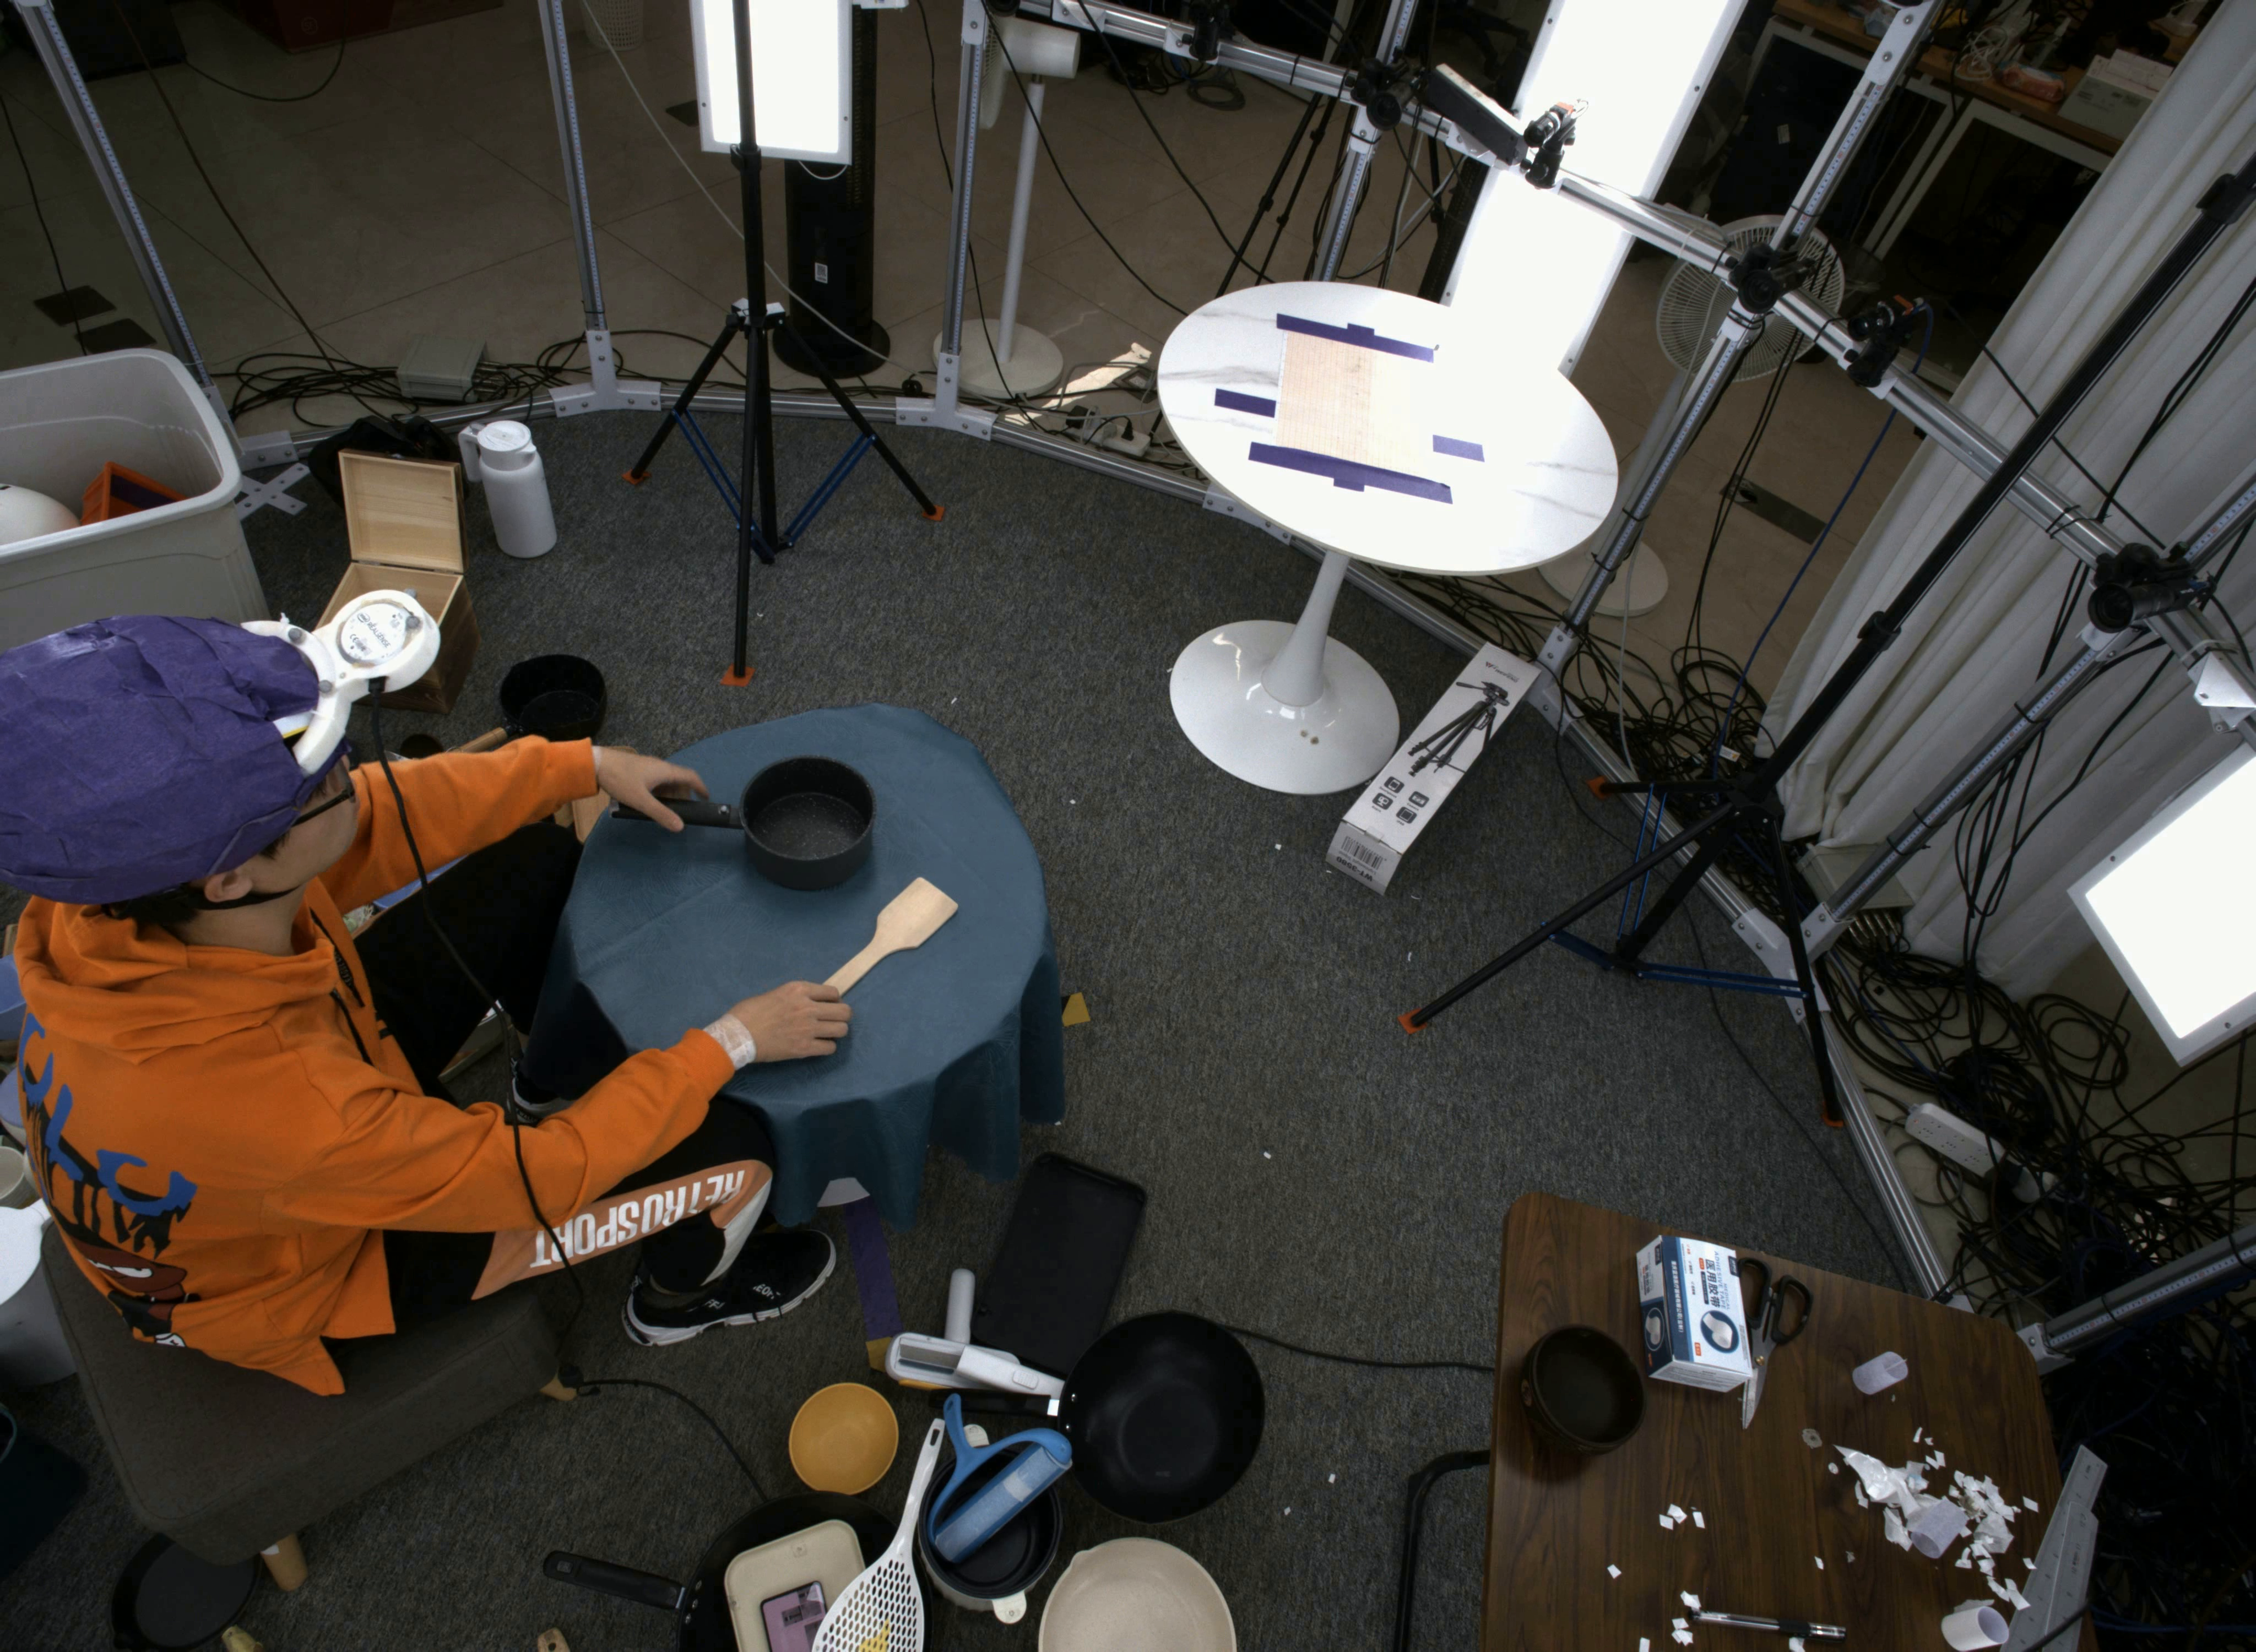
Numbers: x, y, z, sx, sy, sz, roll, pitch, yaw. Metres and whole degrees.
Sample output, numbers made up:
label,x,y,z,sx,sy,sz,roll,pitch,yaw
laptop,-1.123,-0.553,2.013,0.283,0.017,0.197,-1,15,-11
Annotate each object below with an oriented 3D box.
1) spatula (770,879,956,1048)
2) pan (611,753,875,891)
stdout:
label,x,y,z,sx,sy,sz,roll,pitch,yaw
spatula,-0.330,0.170,1.605,0.071,0.011,0.293,38,53,10
pan,-0.490,-0.009,1.648,0.329,0.088,0.168,3,52,-15
